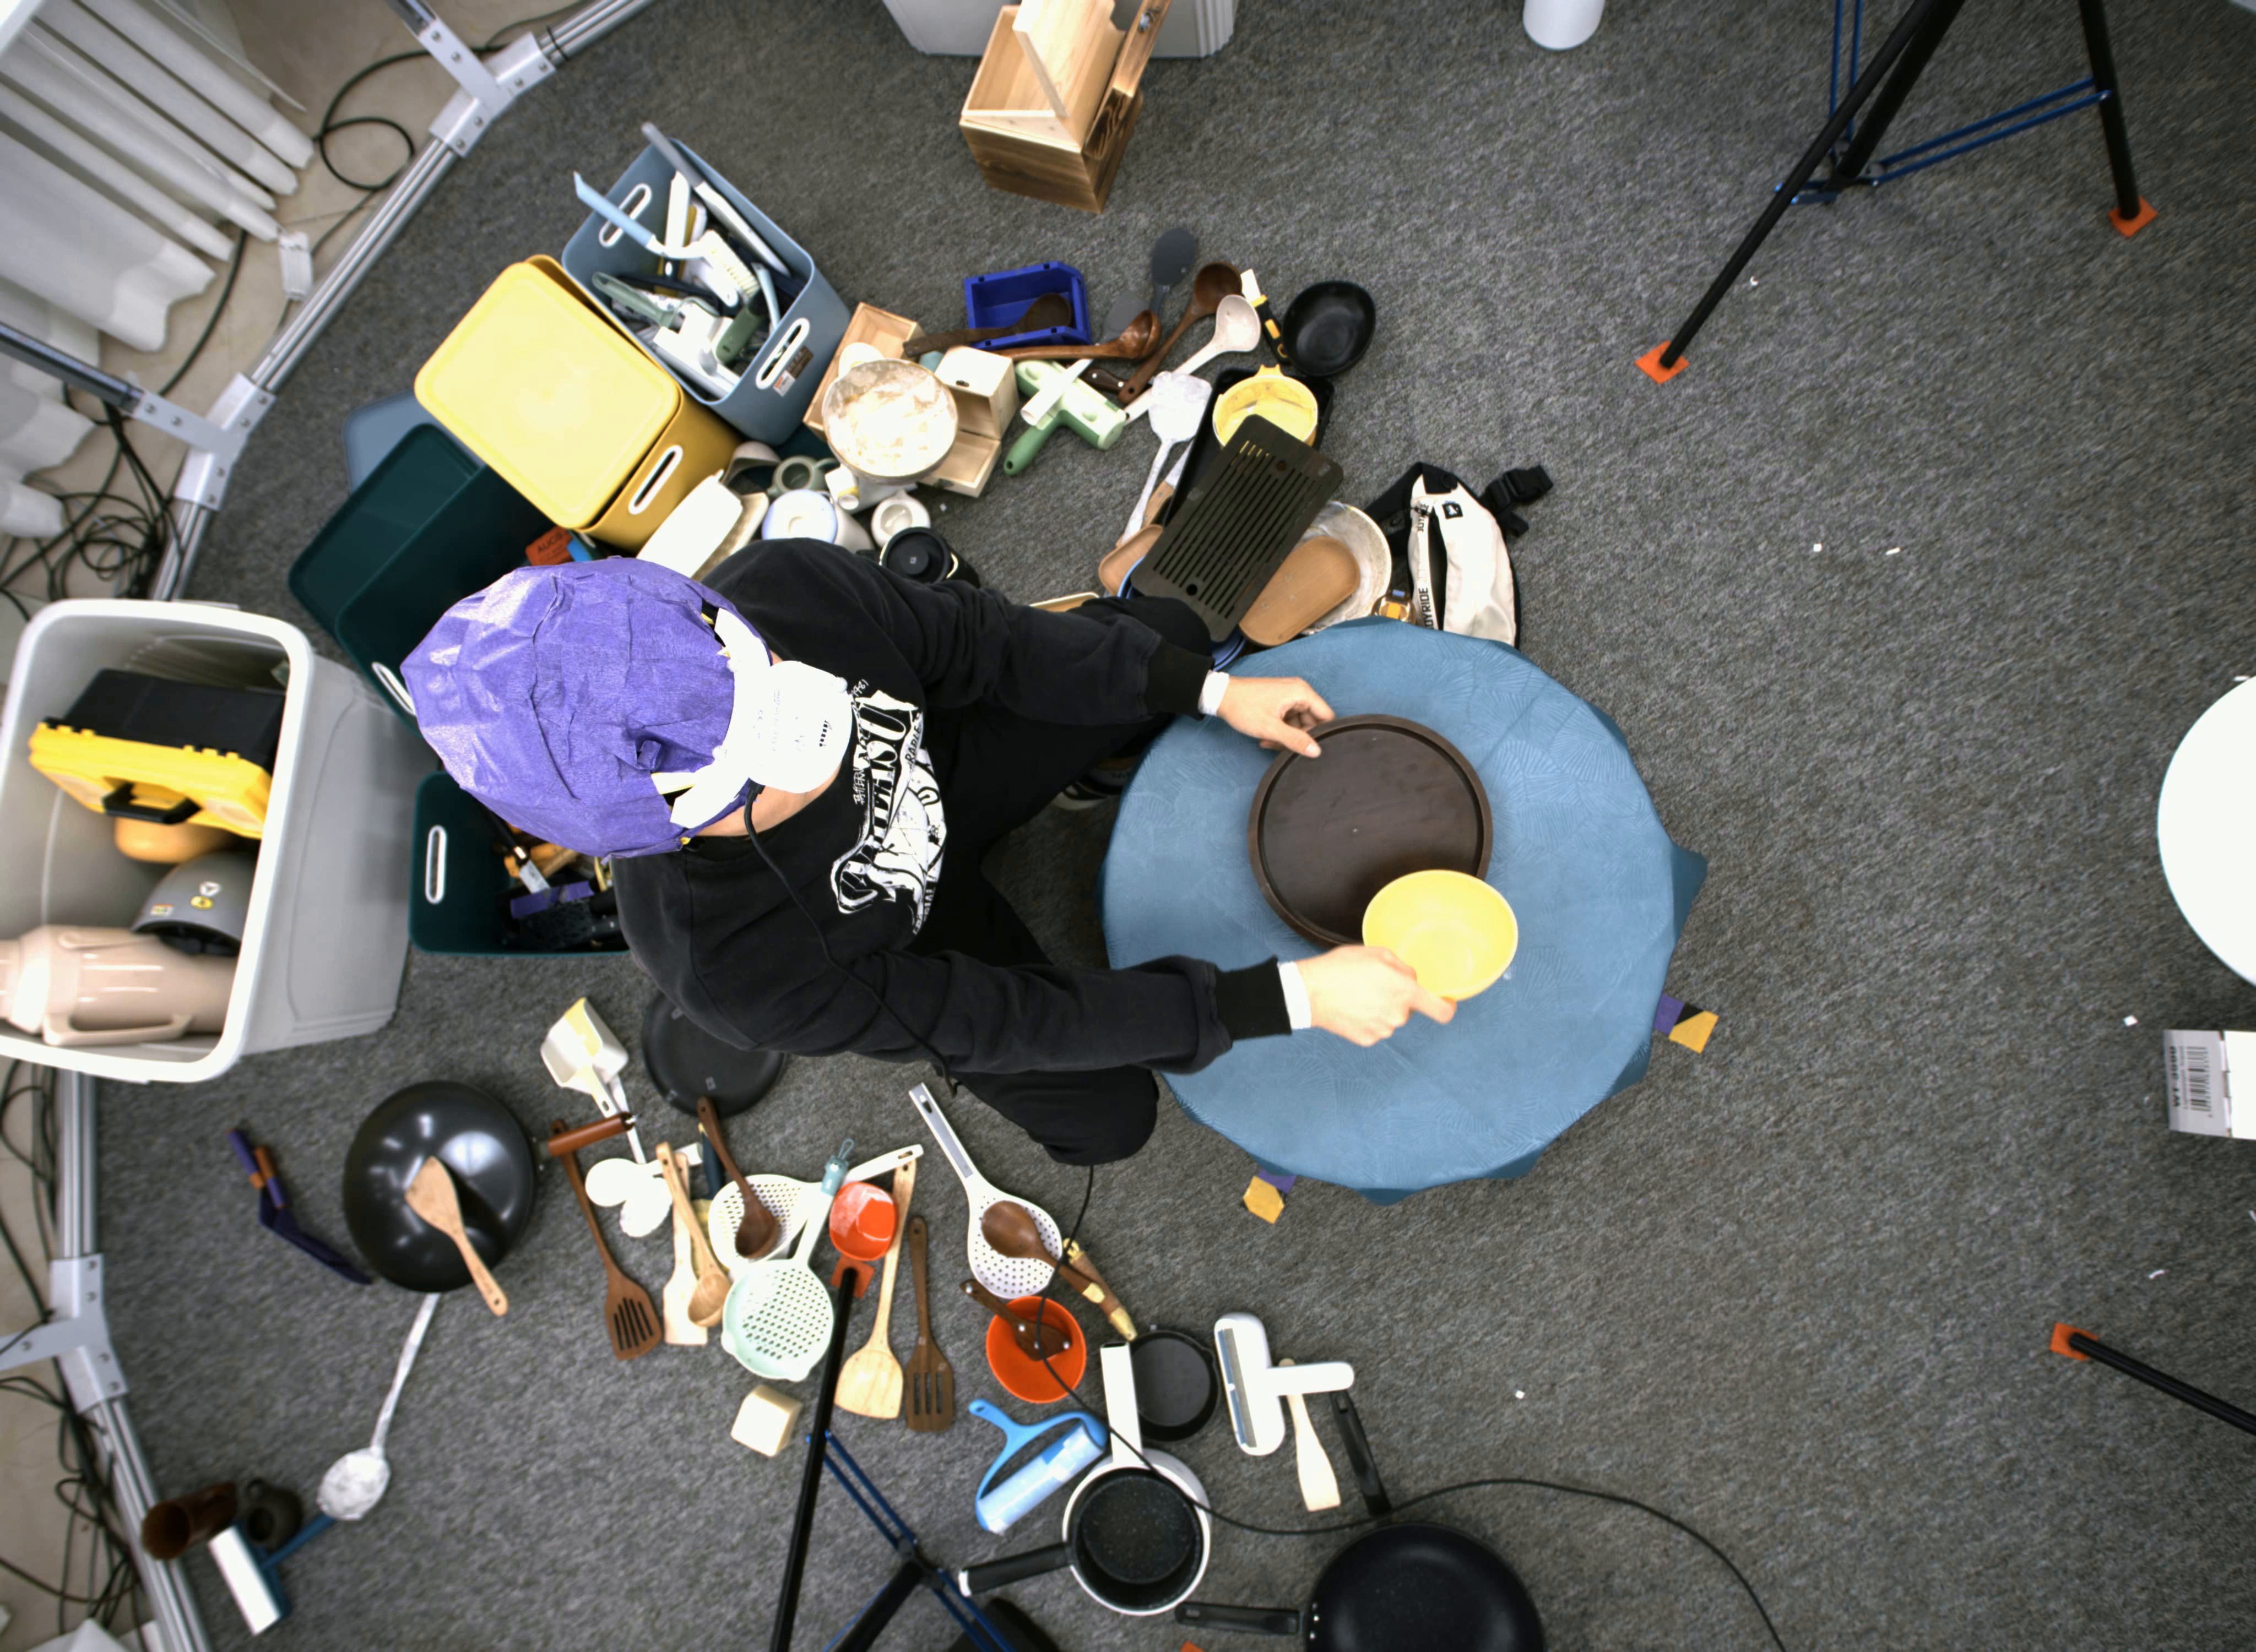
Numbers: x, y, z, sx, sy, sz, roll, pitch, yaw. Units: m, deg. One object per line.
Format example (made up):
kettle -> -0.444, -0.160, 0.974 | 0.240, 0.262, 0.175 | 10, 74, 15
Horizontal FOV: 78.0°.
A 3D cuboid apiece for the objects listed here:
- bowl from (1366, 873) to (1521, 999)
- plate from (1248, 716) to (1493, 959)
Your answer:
bowl -> 0.304, 0.115, 1.332 | 0.146, 0.061, 0.141 | -7, 47, 7
plate -> 0.251, 0.012, 1.436 | 0.255, 0.029, 0.256 | 1, 100, 5
